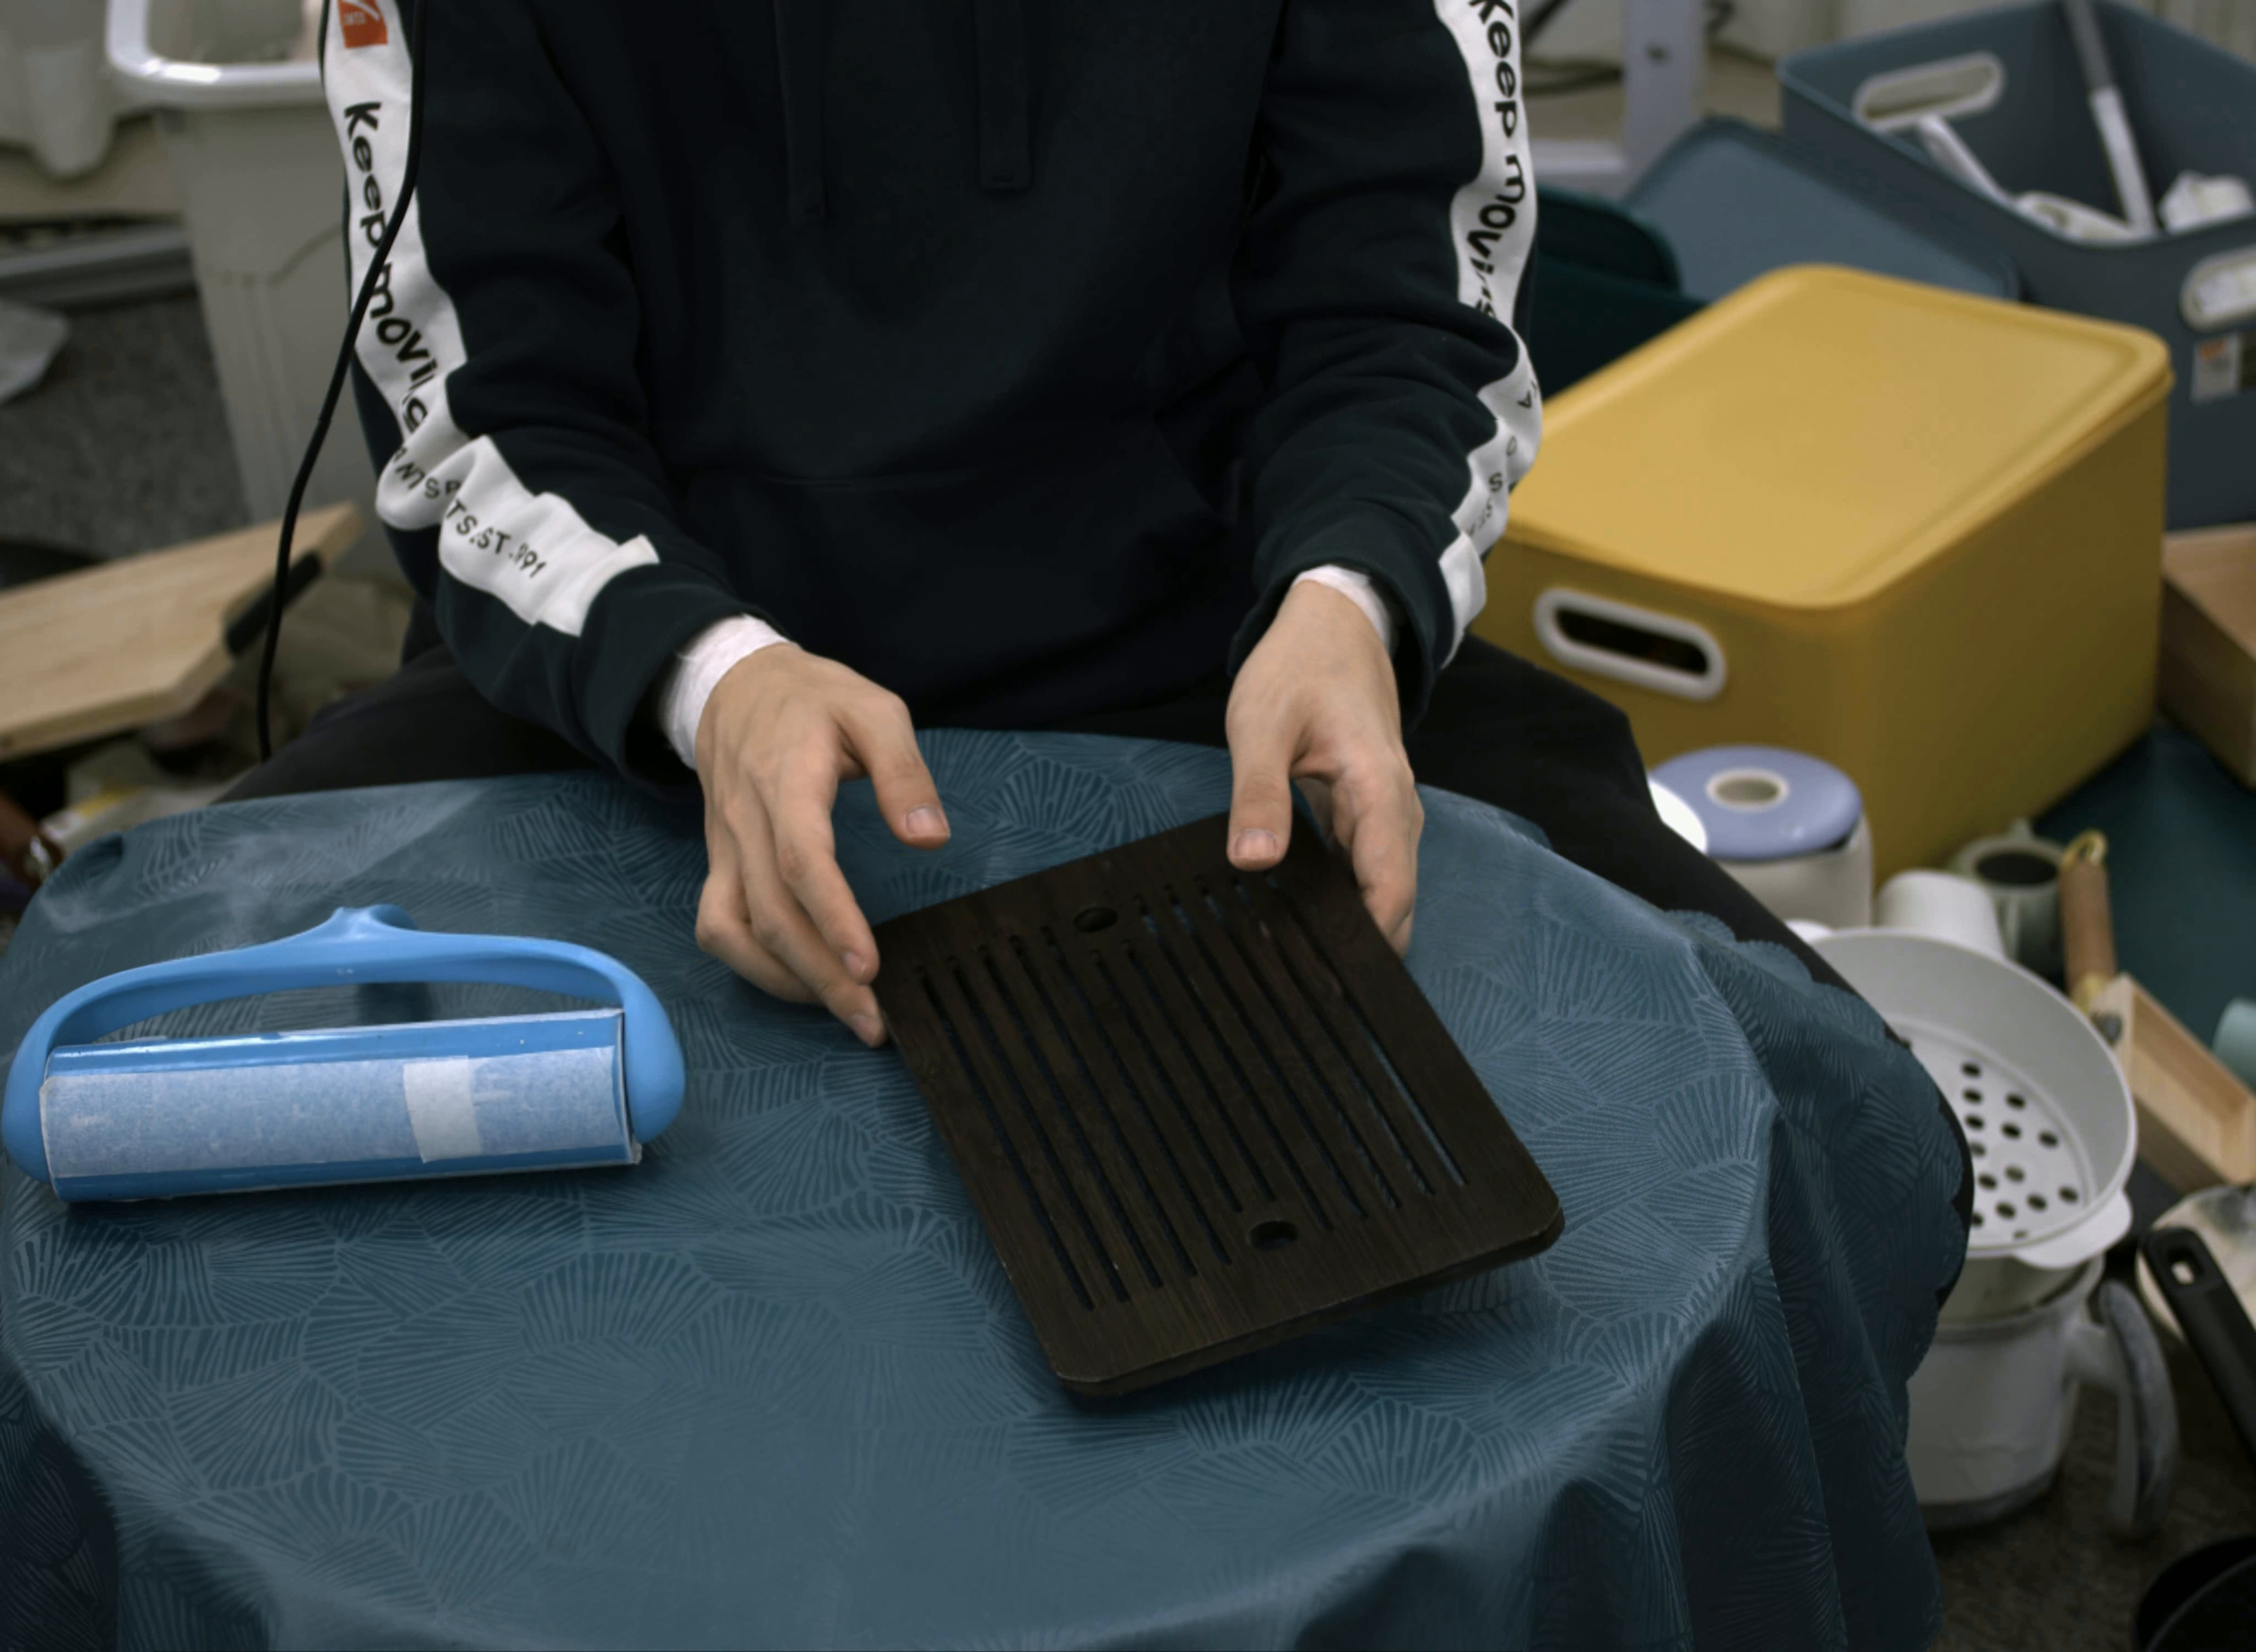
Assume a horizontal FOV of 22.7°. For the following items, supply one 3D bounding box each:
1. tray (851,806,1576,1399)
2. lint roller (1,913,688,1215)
[{"bbox_3d":[0.022,0.088,1.877,0.170,0.018,0.309,-17,30,-9],"label":"tray"},{"bbox_3d":[-0.267,0.066,1.932,0.228,0.067,0.183,-7,29,-3],"label":"lint roller"}]
